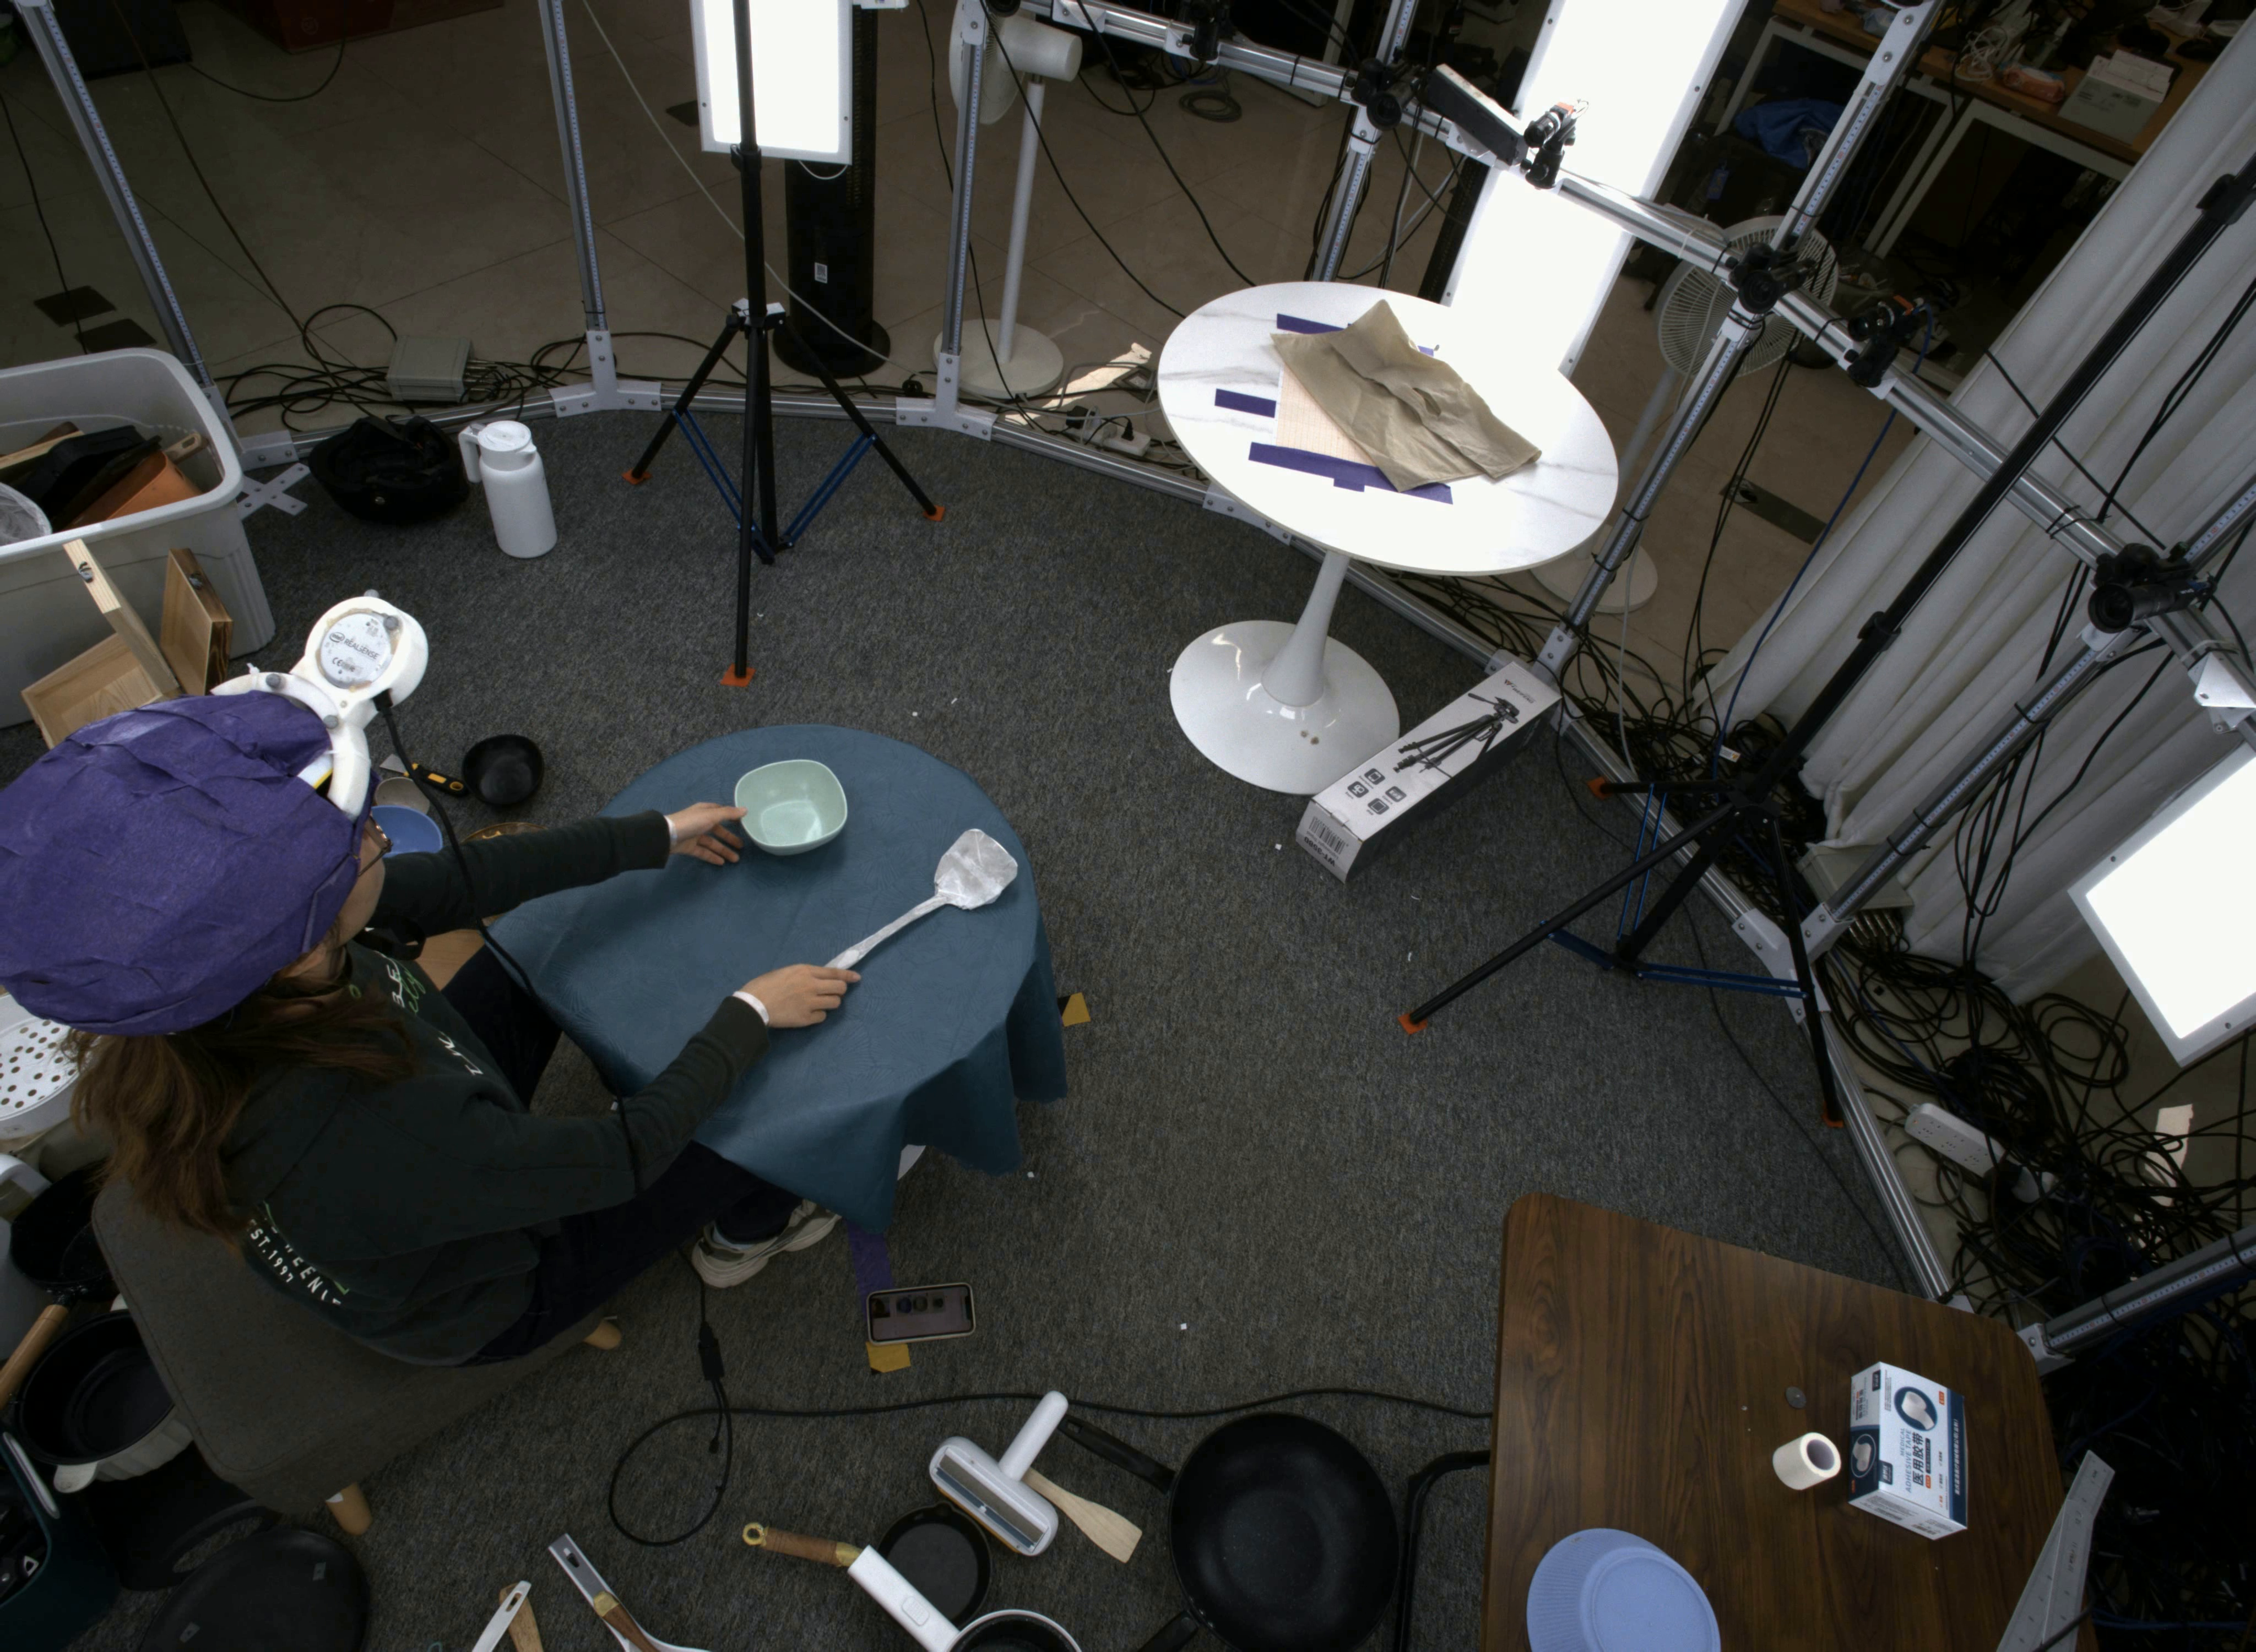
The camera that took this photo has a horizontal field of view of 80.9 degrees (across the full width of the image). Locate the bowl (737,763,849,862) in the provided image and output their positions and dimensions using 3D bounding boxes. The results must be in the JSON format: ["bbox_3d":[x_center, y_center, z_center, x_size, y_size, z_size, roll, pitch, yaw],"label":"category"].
[{"bbox_3d":[-0.438,-0.009,1.704,0.150,0.060,0.149,5,54,-5],"label":"bowl"}]

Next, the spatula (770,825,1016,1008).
[{"bbox_3d":[-0.298,0.120,1.647,0.097,0.045,0.366,44,56,17],"label":"spatula"}]
